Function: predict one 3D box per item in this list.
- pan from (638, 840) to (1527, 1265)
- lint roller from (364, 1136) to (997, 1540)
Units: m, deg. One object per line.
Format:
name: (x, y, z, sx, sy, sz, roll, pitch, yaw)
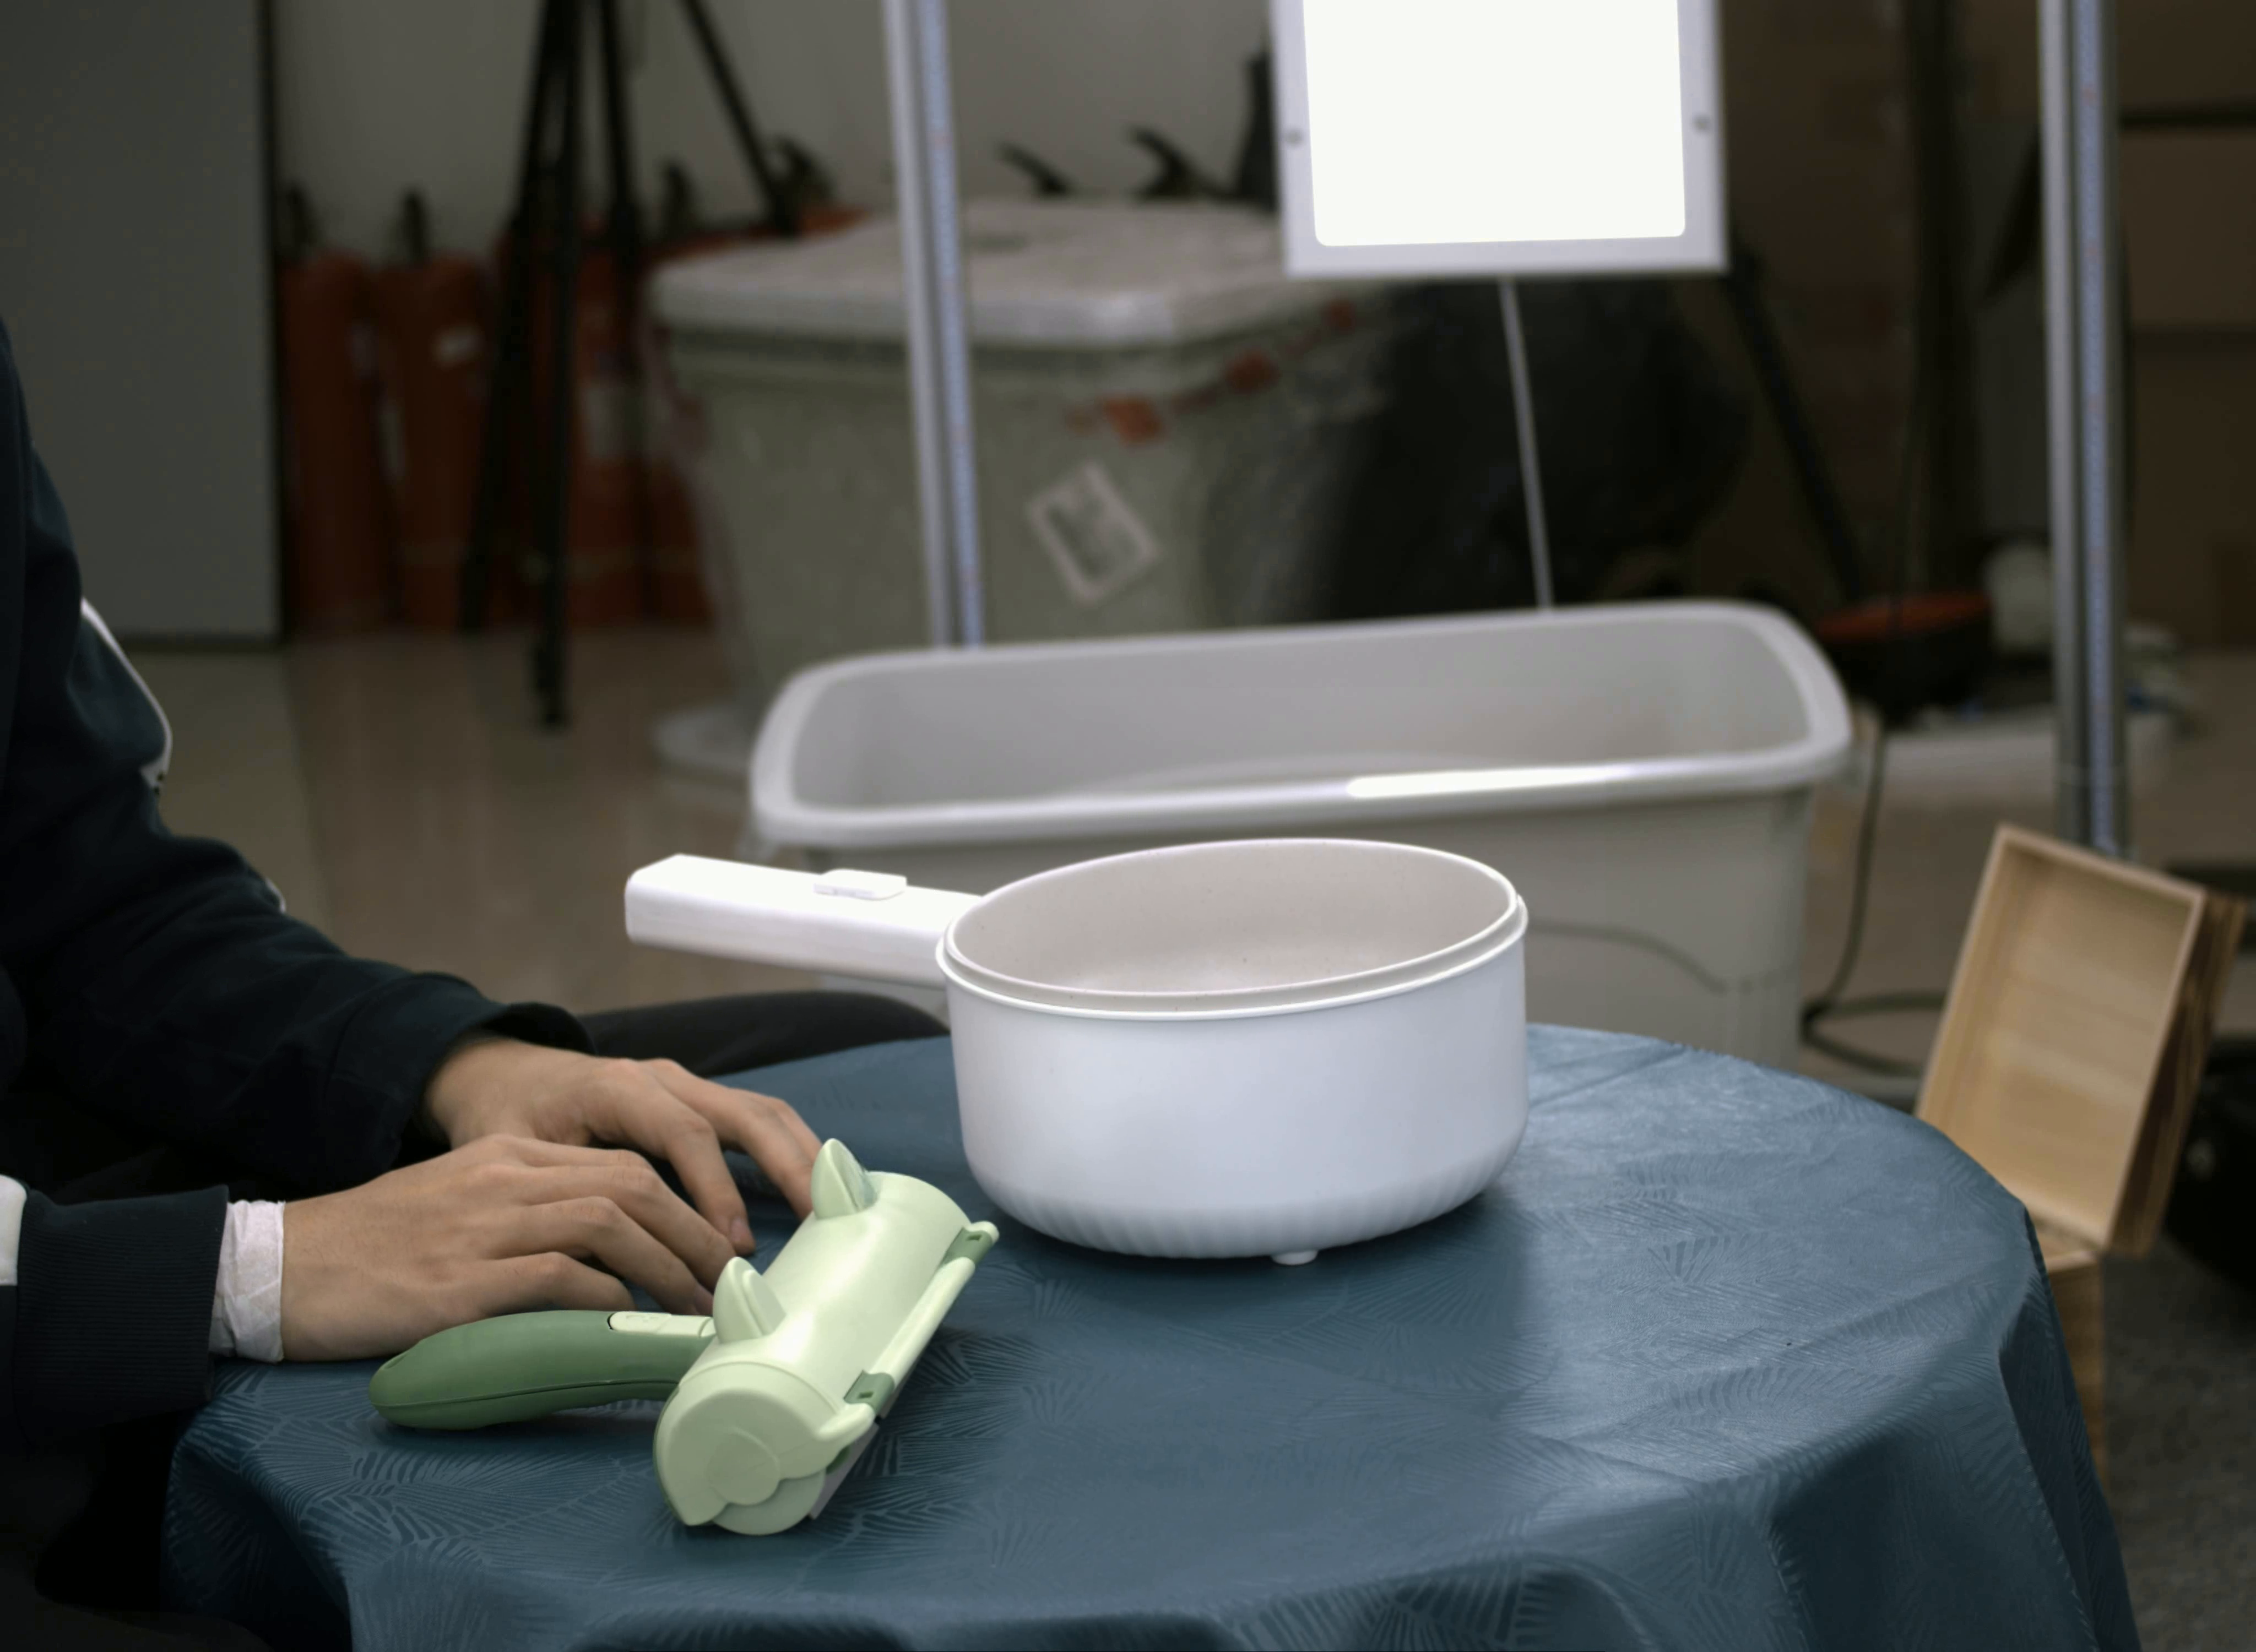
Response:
pan: (-0.024, 0.072, 1.915, 0.362, 0.102, 0.196, 5, 17, 37)
lint roller: (-0.148, 0.149, 1.699, 0.184, 0.082, 0.196, 3, 16, 12)
